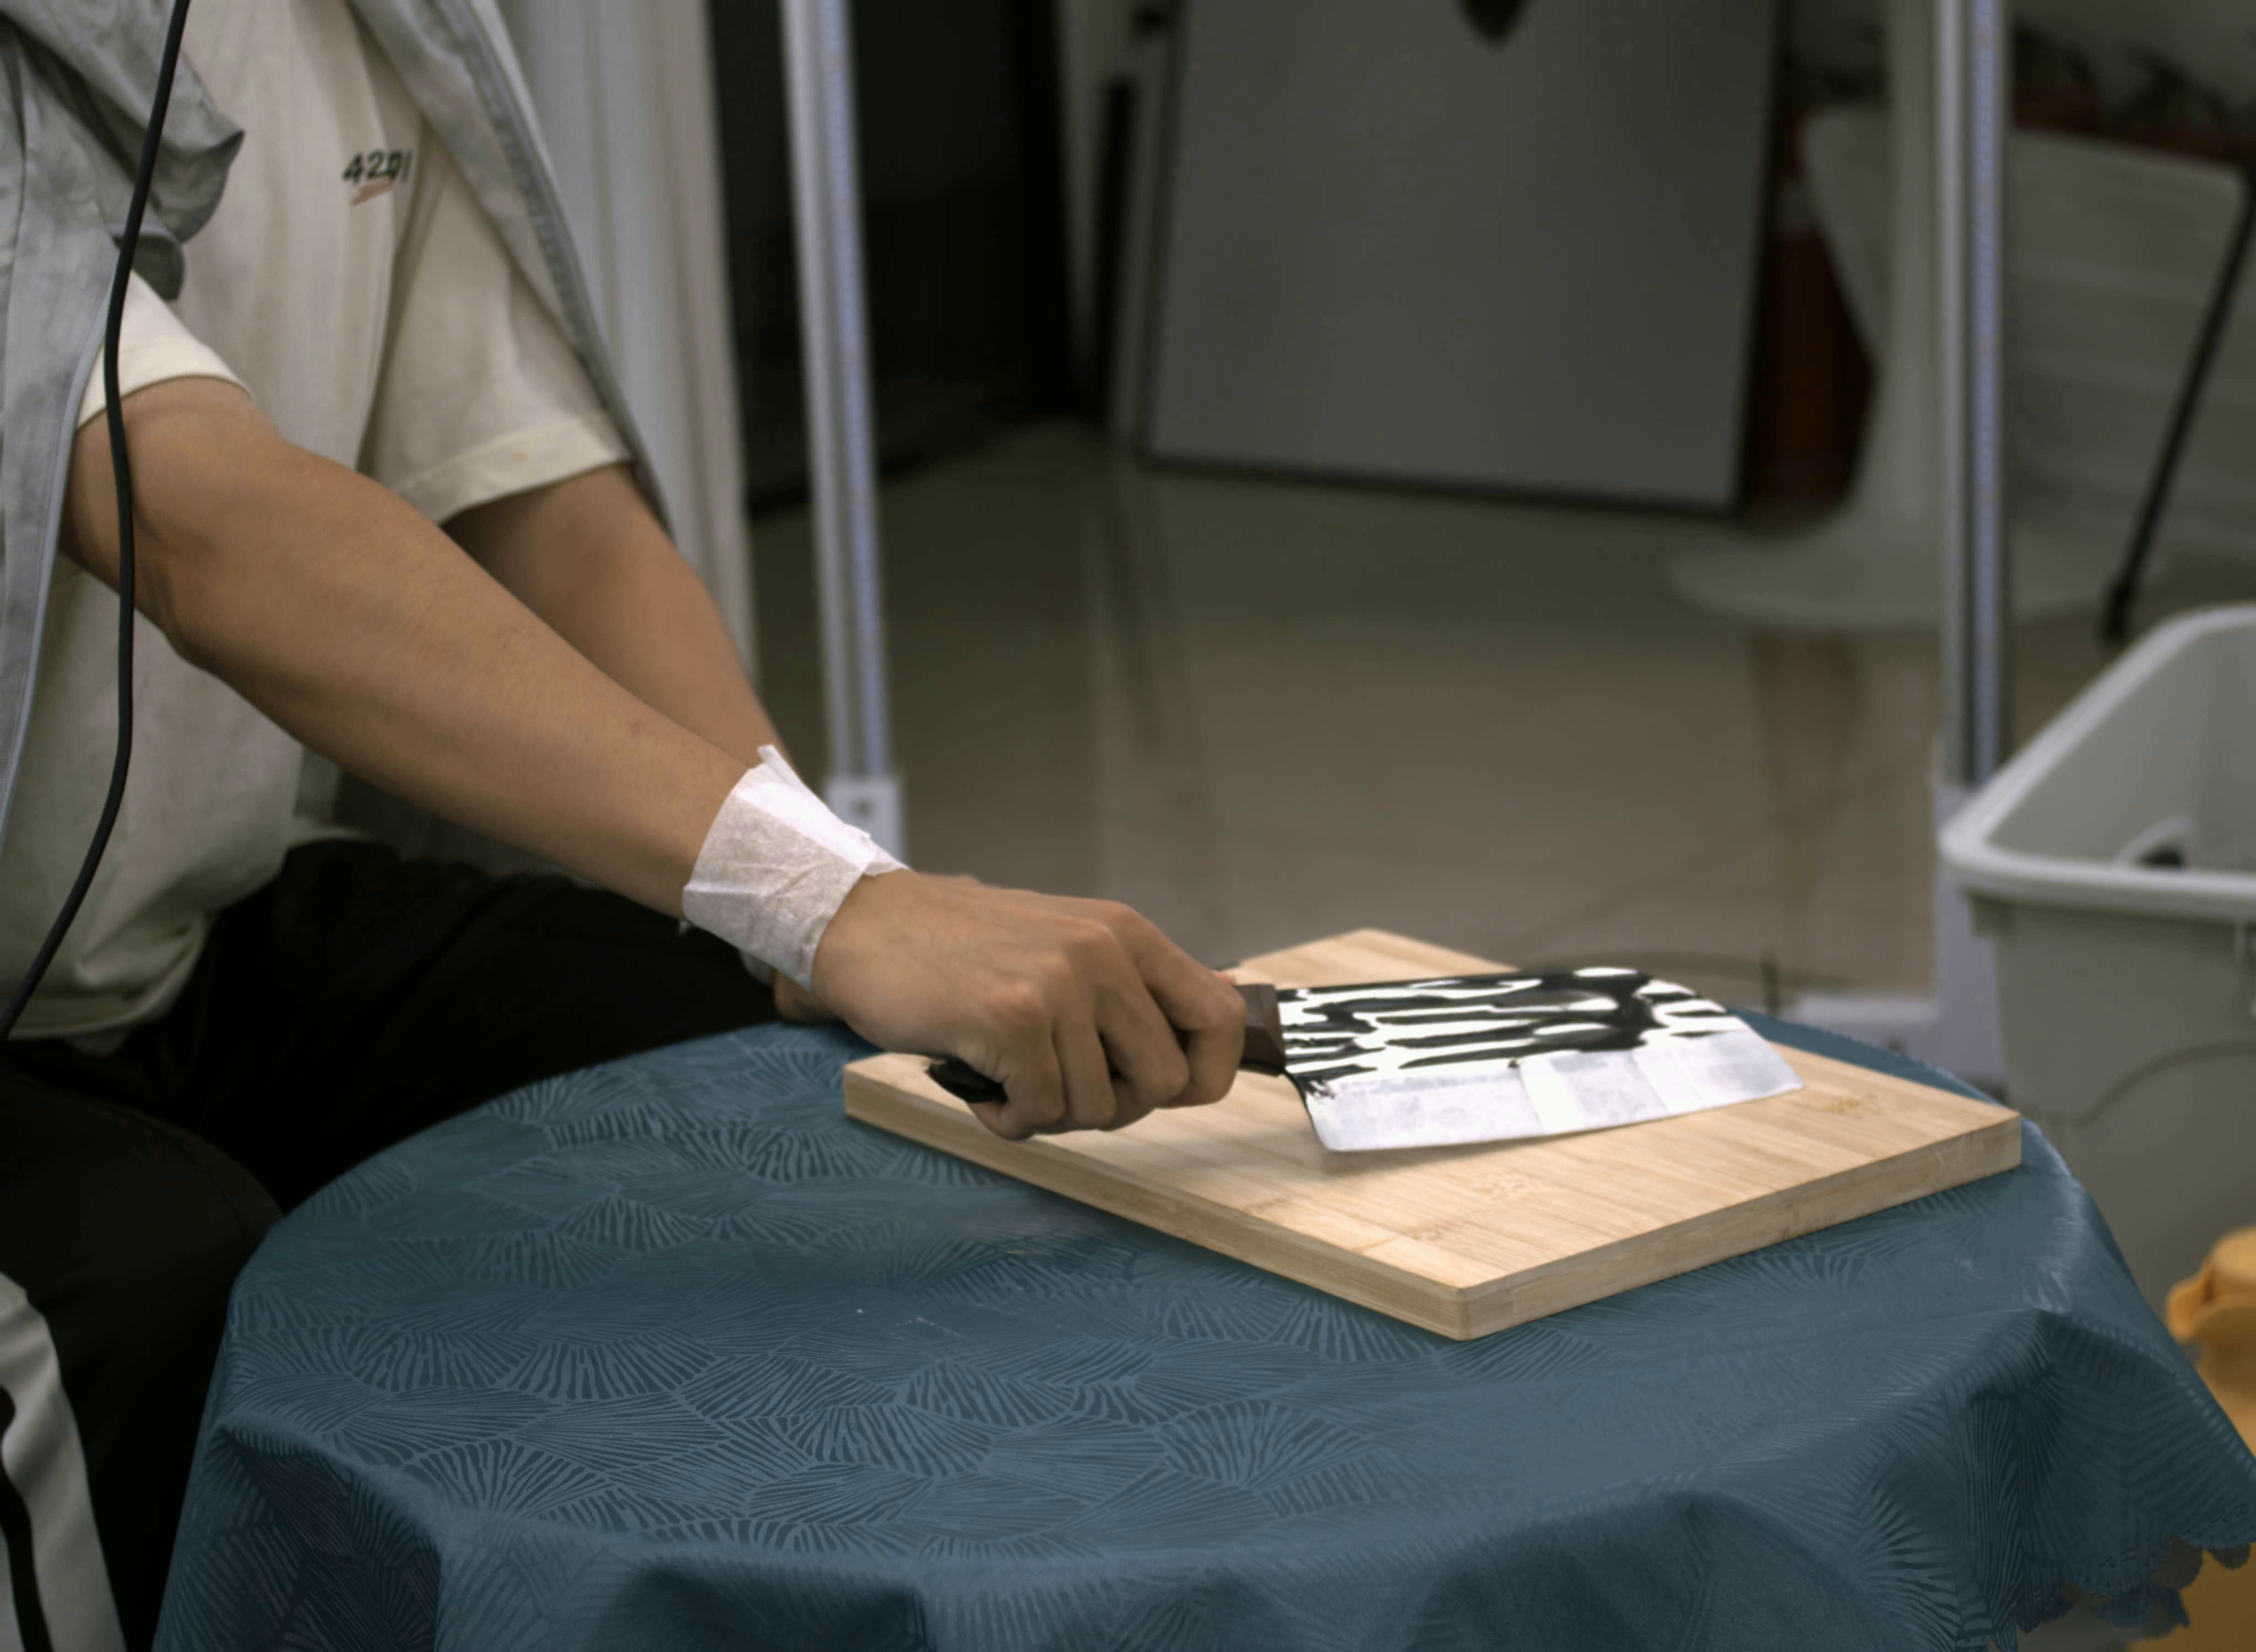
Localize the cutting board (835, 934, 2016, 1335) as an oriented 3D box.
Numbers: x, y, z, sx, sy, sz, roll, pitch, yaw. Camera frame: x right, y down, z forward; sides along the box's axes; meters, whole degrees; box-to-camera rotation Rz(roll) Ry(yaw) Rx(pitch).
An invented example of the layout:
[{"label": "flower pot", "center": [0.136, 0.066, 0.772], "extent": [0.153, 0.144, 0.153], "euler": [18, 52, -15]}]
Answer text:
[{"label": "cutting board", "center": [0.092, 0.098, 1.811], "extent": [0.245, 0.024, 0.352], "euler": [-13, 16, -35]}]

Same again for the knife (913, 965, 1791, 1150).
[{"label": "knife", "center": [0.077, 0.076, 1.739], "extent": [0.293, 0.024, 0.069], "euler": [-3, 49, -20]}]
